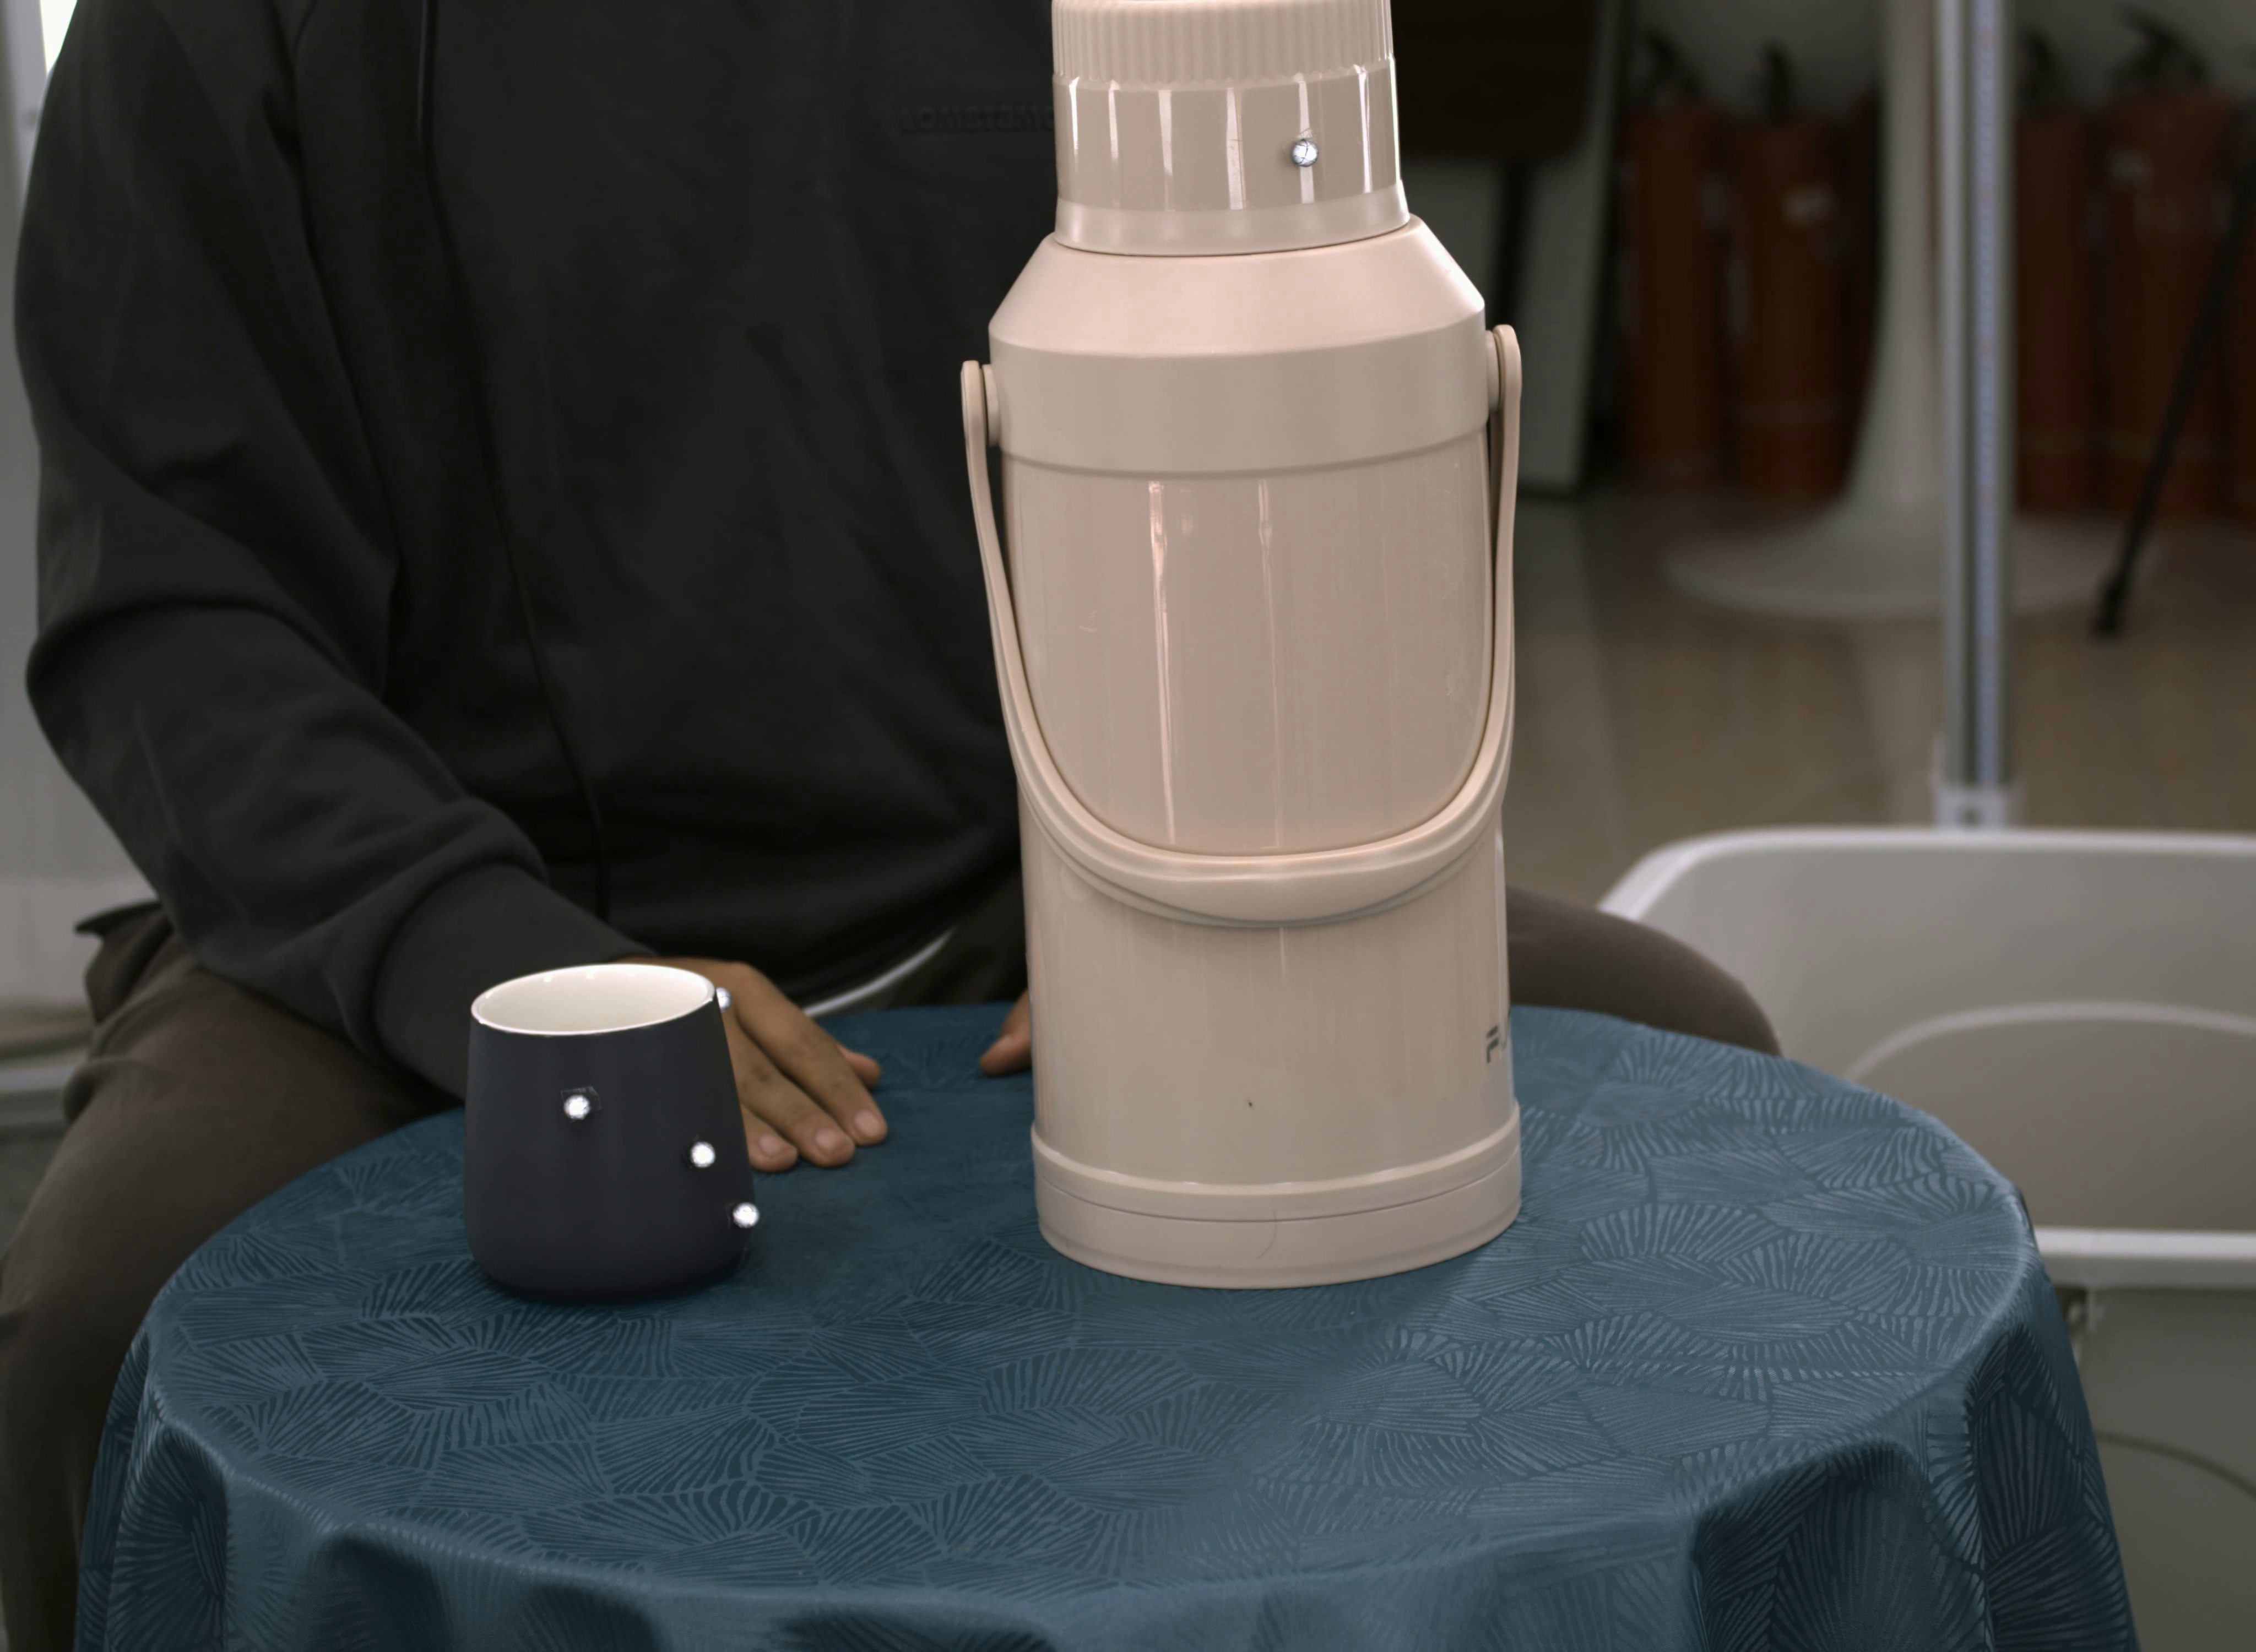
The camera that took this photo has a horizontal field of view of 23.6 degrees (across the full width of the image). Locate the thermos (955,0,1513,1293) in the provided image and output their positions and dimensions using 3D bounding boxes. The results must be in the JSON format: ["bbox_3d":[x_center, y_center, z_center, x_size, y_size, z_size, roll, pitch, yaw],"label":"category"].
[{"bbox_3d":[0.036,-0.072,1.713,0.173,0.411,0.208,-5,14,-4],"label":"thermos"}]

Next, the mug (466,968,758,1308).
[{"bbox_3d":[-0.165,0.095,1.735,0.092,0.091,0.123,-3,14,4],"label":"mug"}]
